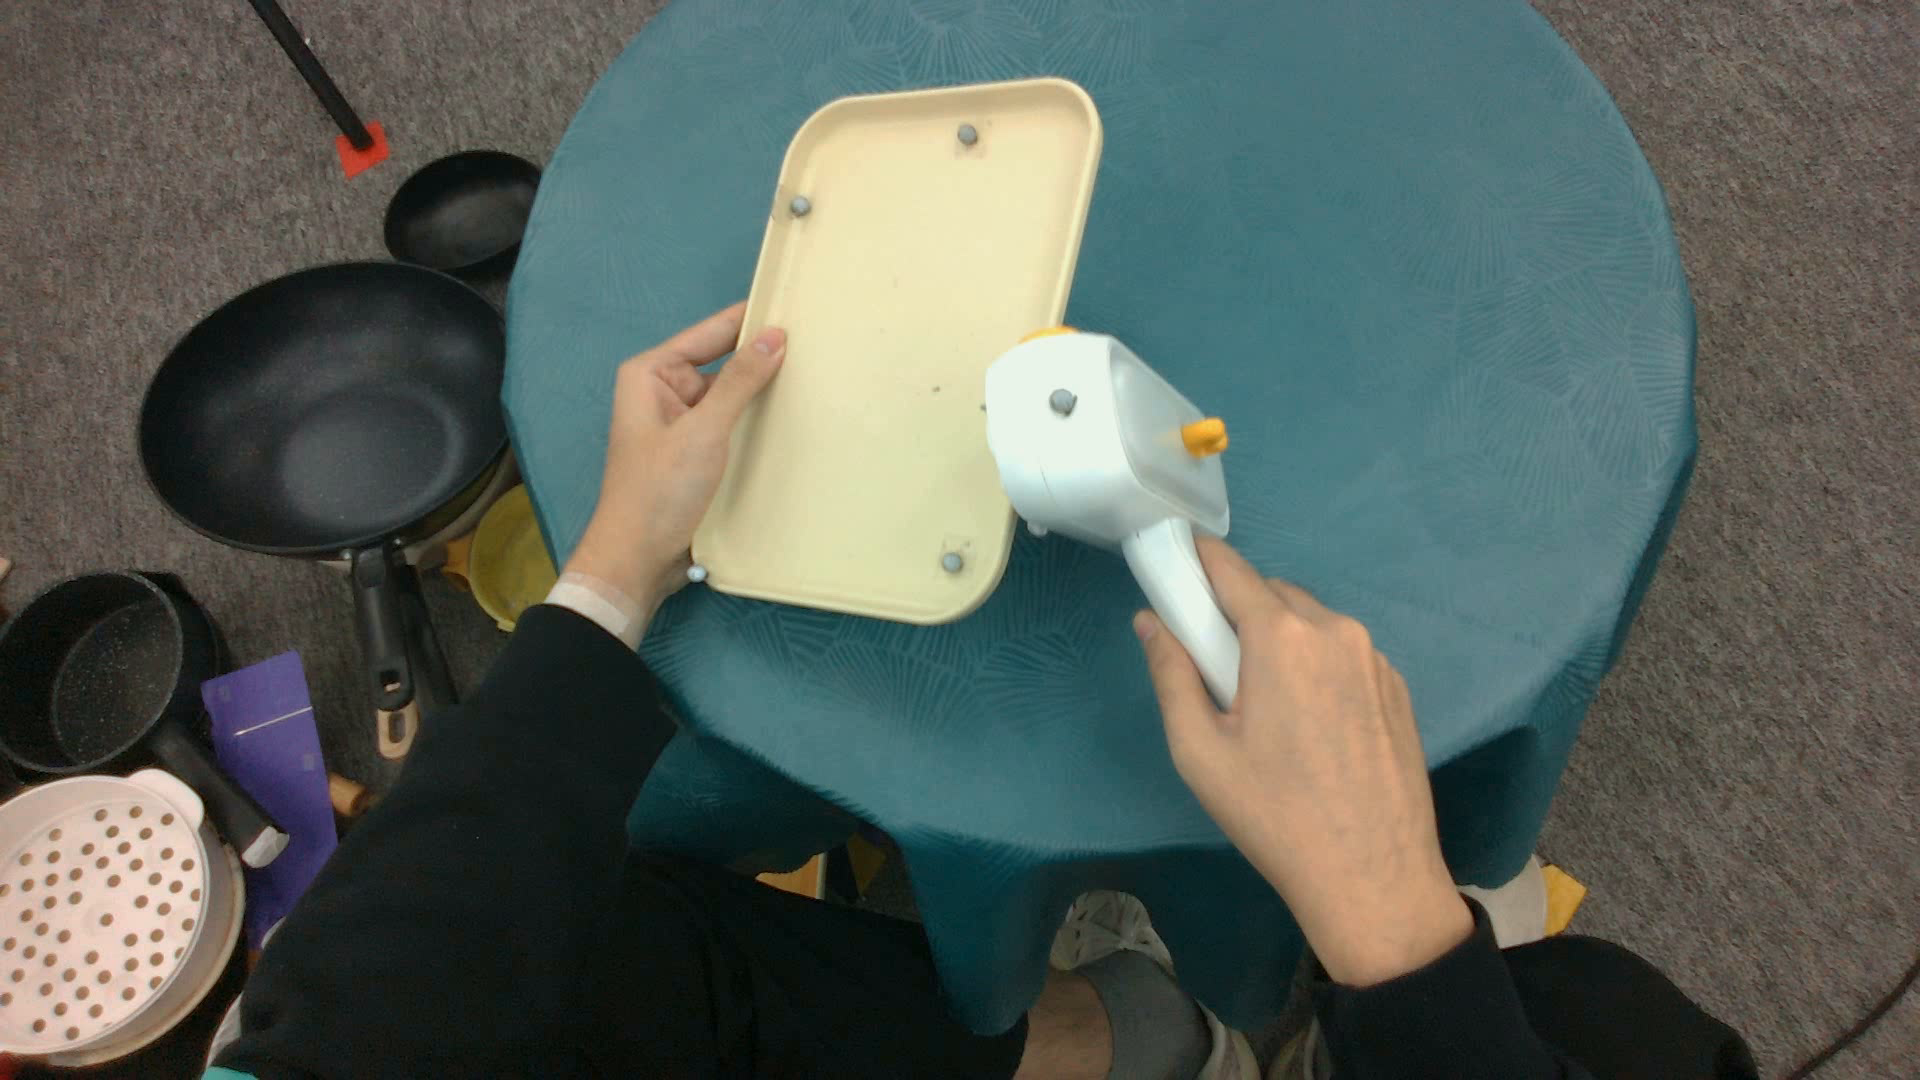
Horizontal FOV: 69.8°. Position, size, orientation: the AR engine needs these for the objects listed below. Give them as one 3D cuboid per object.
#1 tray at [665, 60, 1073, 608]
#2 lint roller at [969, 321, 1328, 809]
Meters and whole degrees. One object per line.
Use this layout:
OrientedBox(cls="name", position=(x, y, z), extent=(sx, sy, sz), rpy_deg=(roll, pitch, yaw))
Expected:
OrientedBox(cls="tray", position=(-0.041, -0.092, 0.600), extent=(0.171, 0.017, 0.240), rpy_deg=(6, 79, 32))
OrientedBox(cls="lint roller", position=(0.079, 0.017, 0.532), extent=(0.074, 0.193, 0.192), rpy_deg=(-22, 79, 13))
